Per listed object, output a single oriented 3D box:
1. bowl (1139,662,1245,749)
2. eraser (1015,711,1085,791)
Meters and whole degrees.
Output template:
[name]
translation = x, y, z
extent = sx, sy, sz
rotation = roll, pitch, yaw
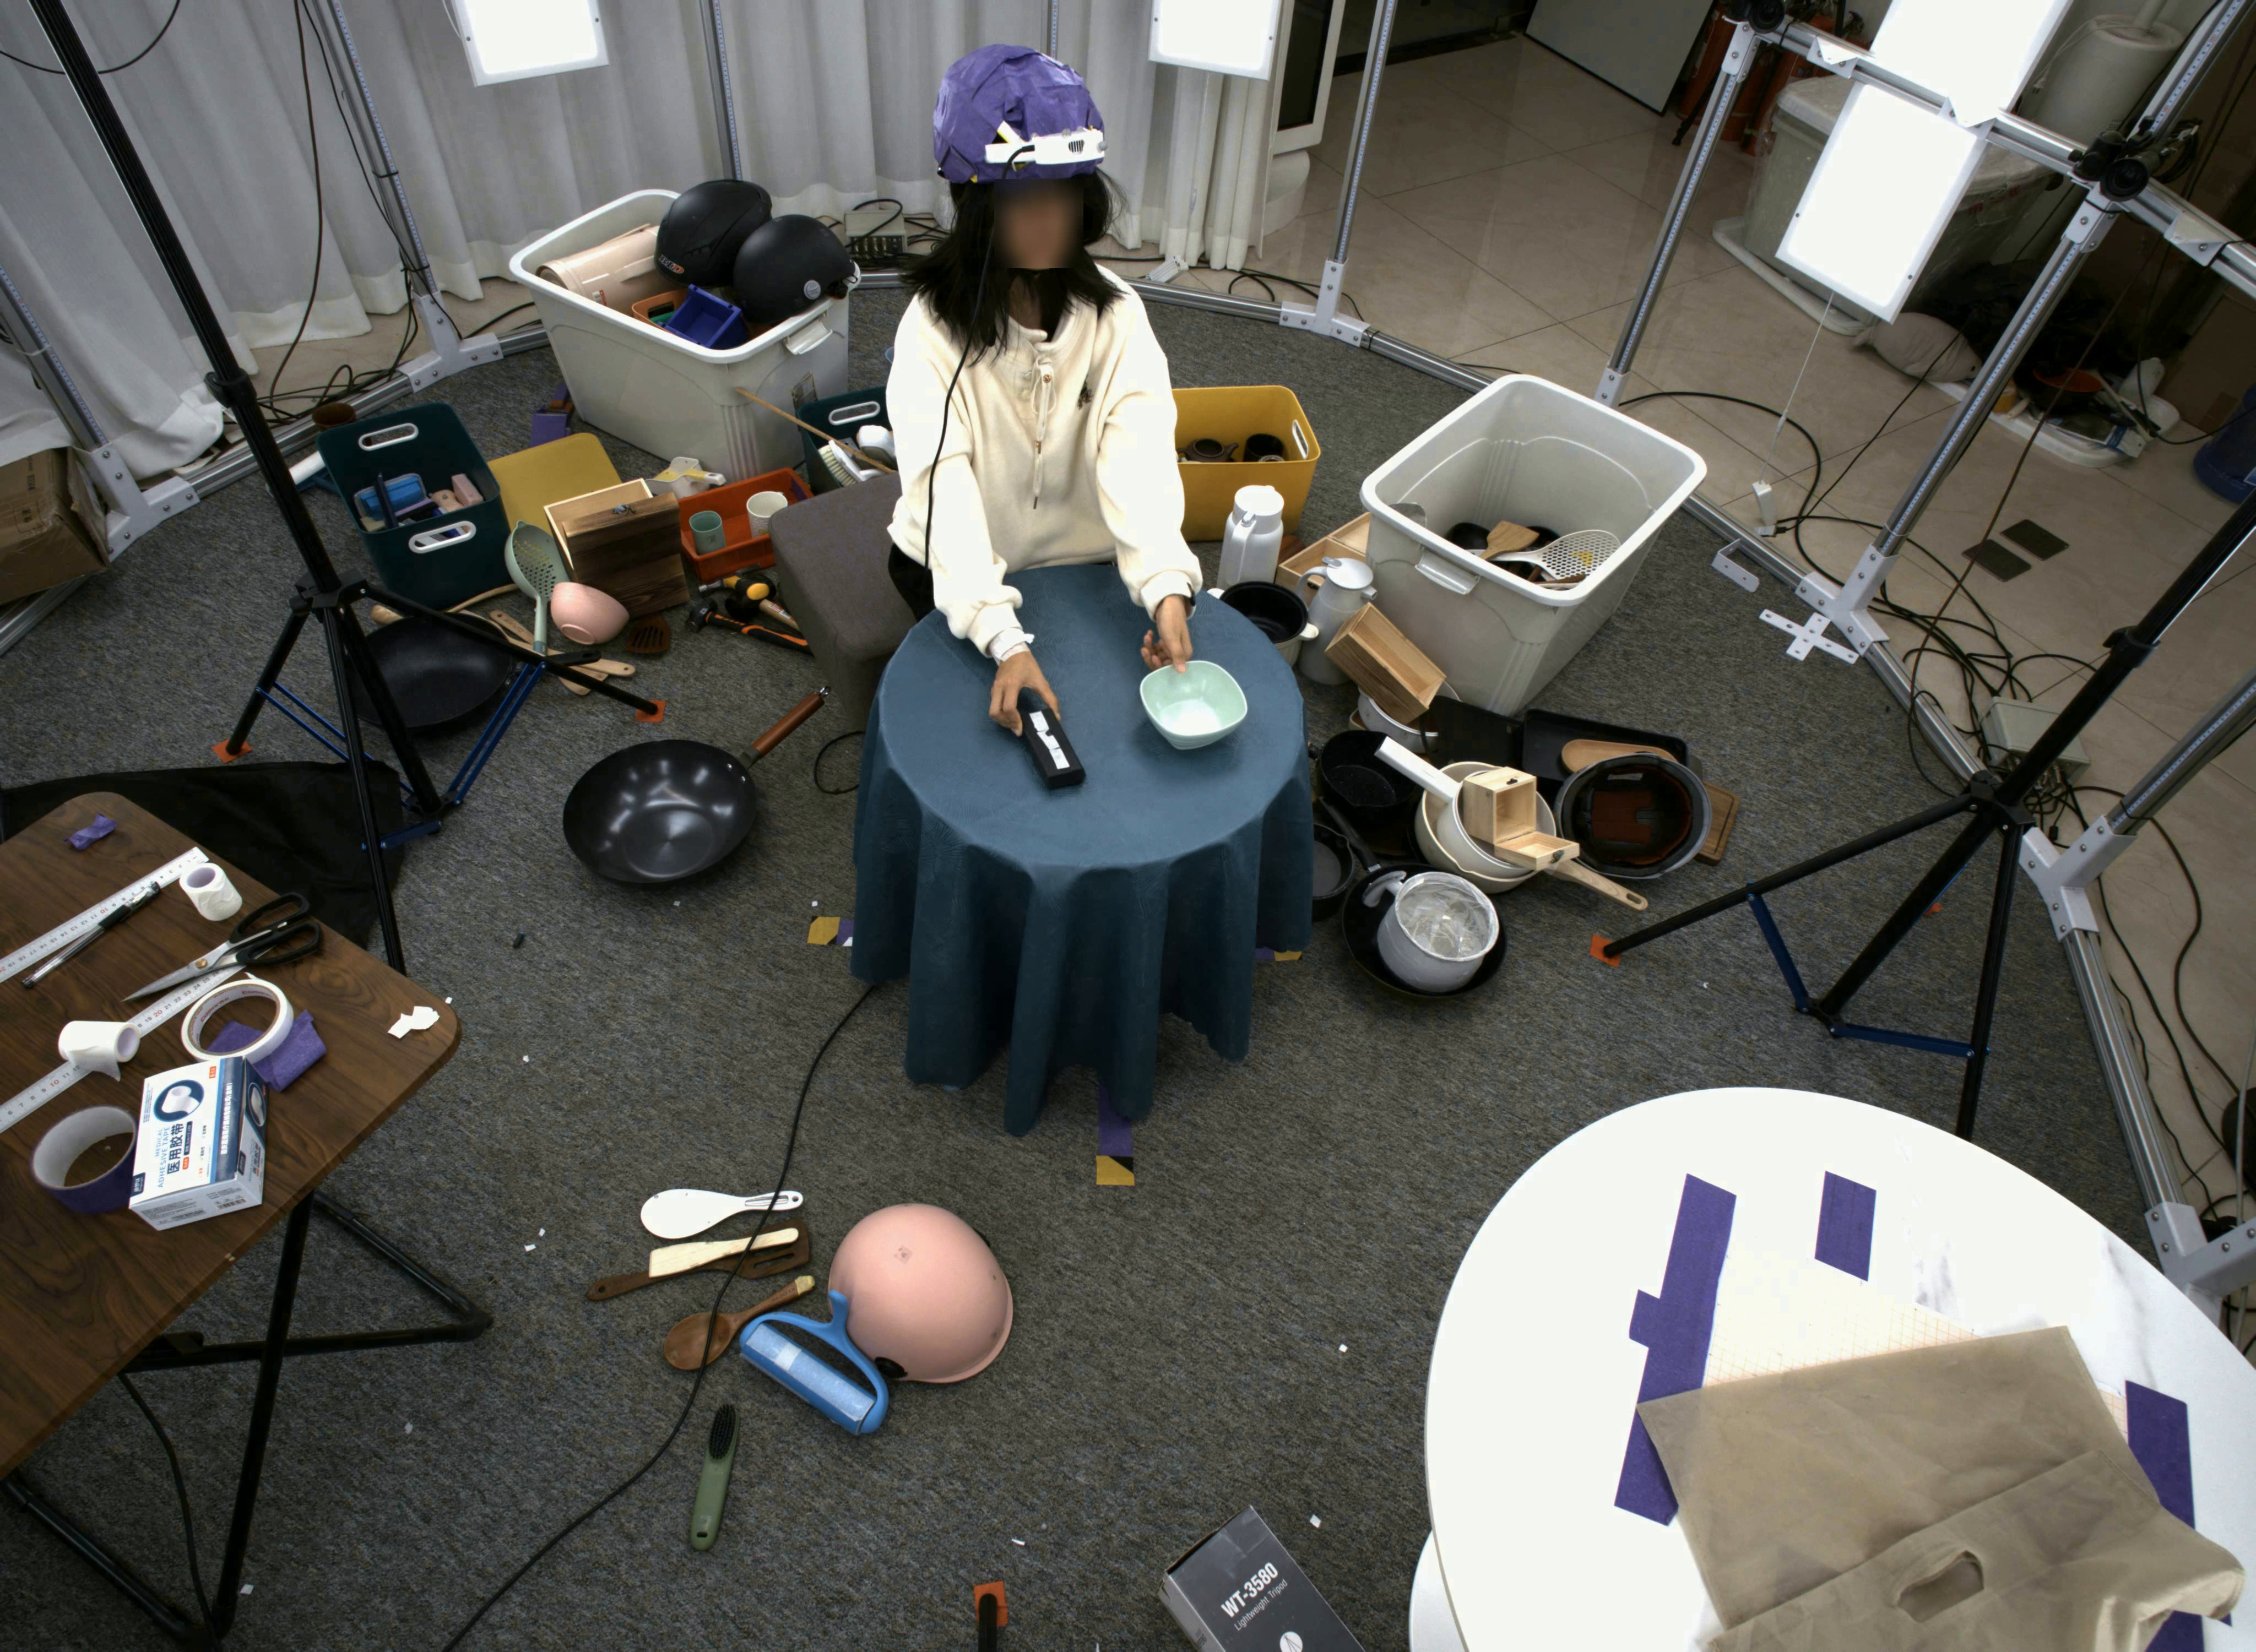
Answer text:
[bowl]
translation = 0.085, -0.158, 1.777
extent = 0.151, 0.057, 0.155
rotation = 4, 48, -5
[eraser]
translation = -0.106, -0.103, 1.735
extent = 0.053, 0.030, 0.128
rotation = -15, 50, -19
